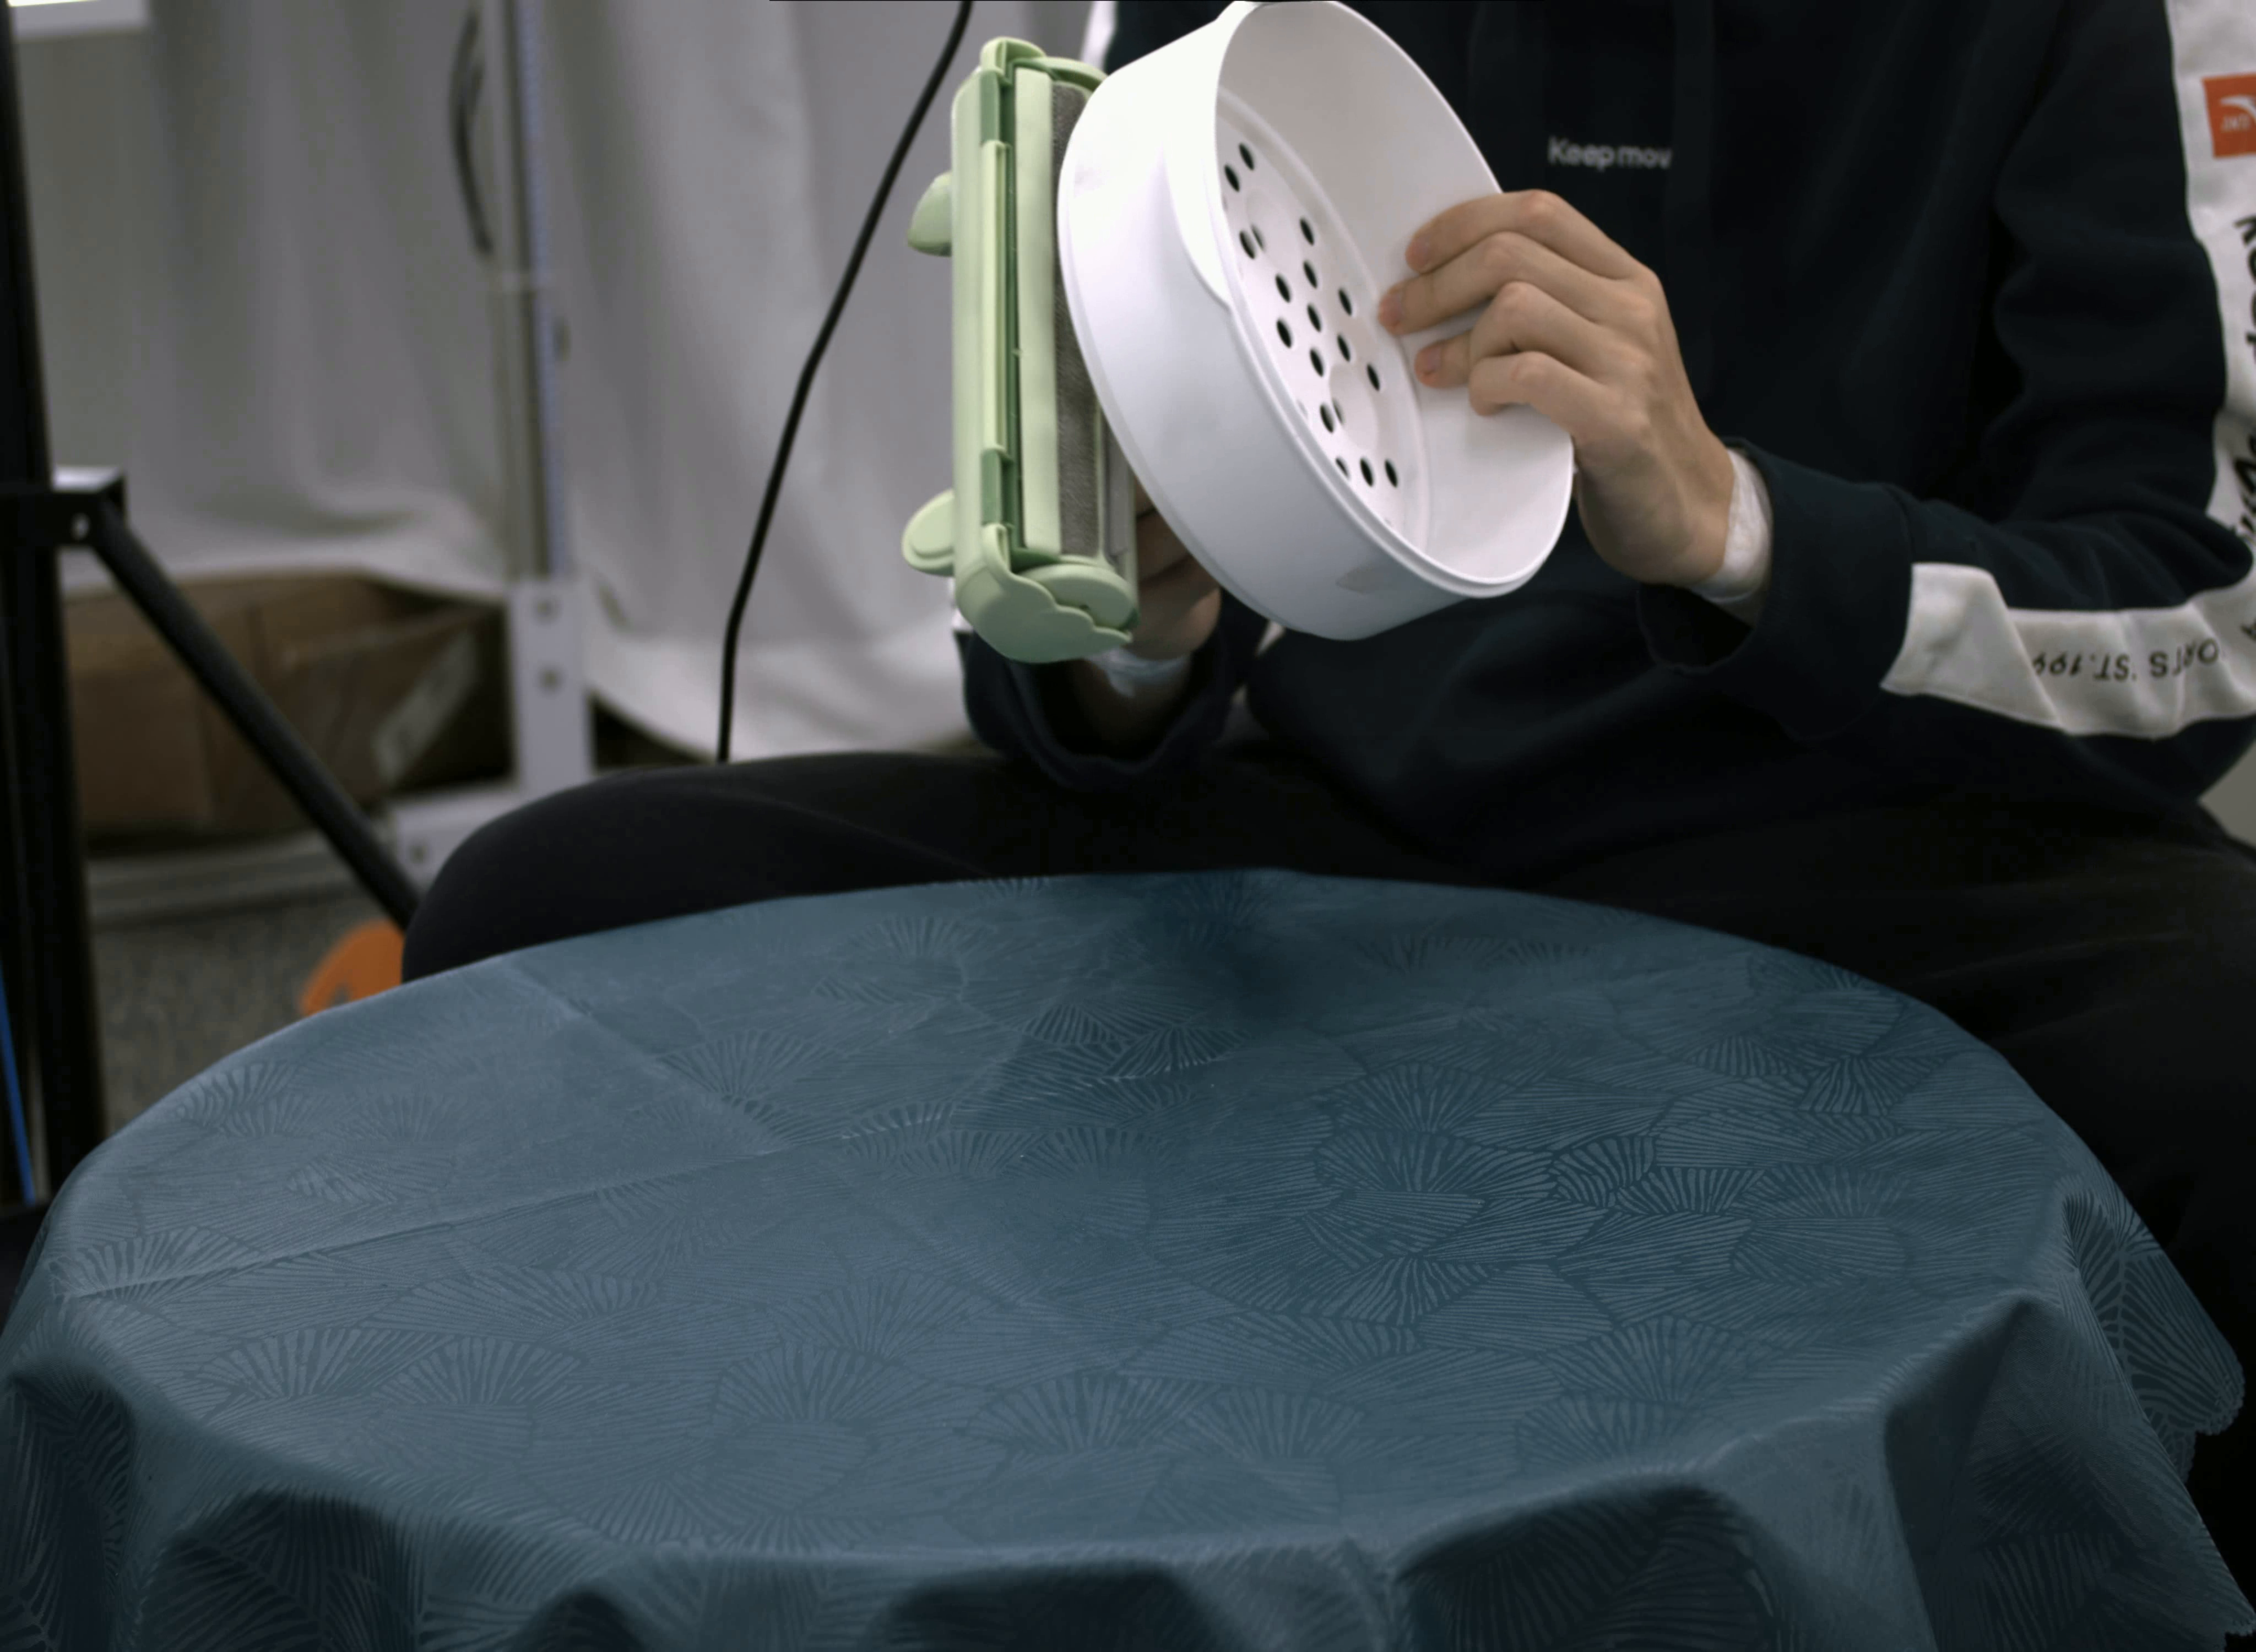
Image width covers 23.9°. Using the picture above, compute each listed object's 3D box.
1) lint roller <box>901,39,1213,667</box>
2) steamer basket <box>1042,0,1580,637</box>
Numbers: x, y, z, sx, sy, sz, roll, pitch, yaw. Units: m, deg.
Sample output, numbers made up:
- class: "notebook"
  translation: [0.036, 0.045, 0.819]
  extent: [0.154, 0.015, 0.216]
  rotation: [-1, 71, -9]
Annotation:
- class: "lint roller"
  translation: [-0.023, -0.120, 1.694]
  extent: [0.082, 0.201, 0.181]
  rotation: [-6, -27, 7]
- class: "steamer basket"
  translation: [0.054, -0.157, 1.645]
  extent: [0.070, 0.204, 0.224]
  rotation: [-24, -26, 32]
